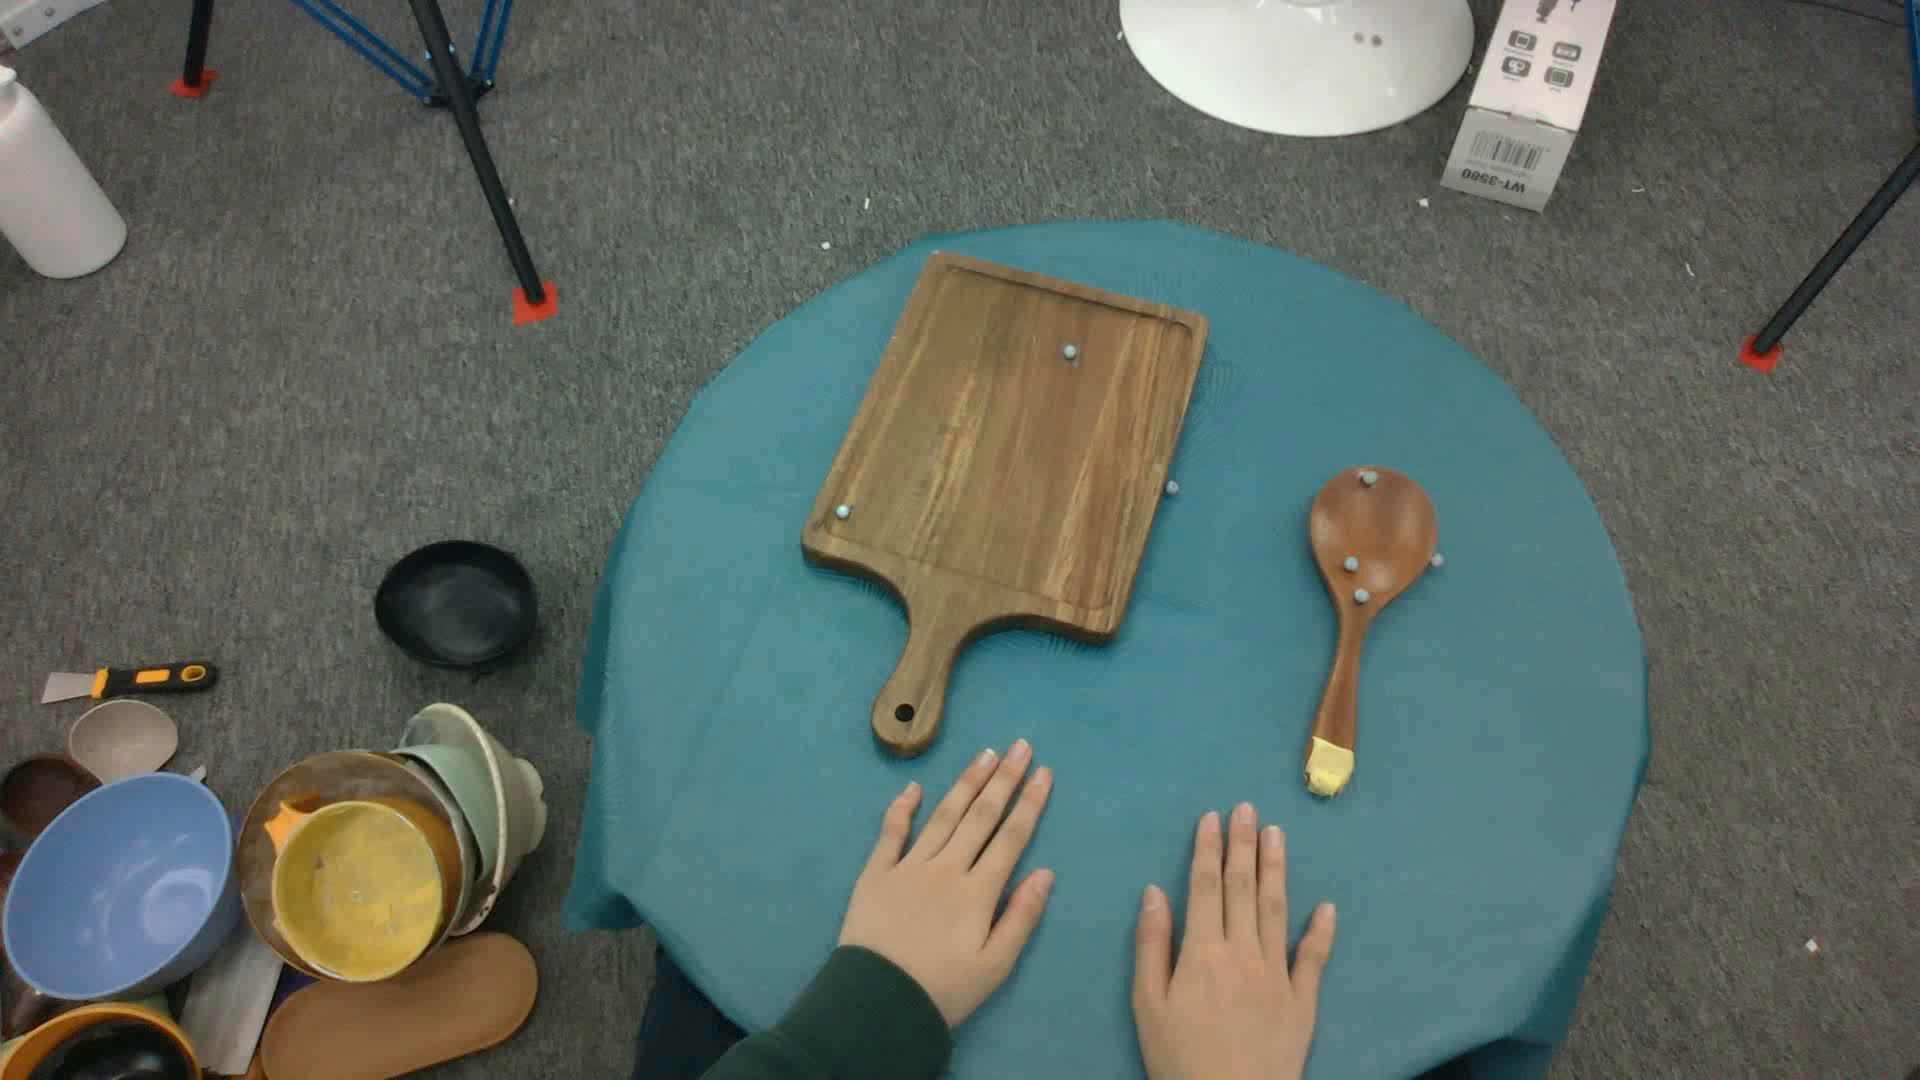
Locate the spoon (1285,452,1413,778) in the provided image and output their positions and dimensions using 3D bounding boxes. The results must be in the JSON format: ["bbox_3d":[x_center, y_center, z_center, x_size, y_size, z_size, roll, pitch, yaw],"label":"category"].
[{"bbox_3d":[0.215,0.038,0.793,0.075,0.017,0.217,16,59,6],"label":"spoon"}]

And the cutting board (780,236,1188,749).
[{"bbox_3d":[0.007,-0.035,0.833,0.201,0.023,0.354,16,60,7],"label":"cutting board"}]
